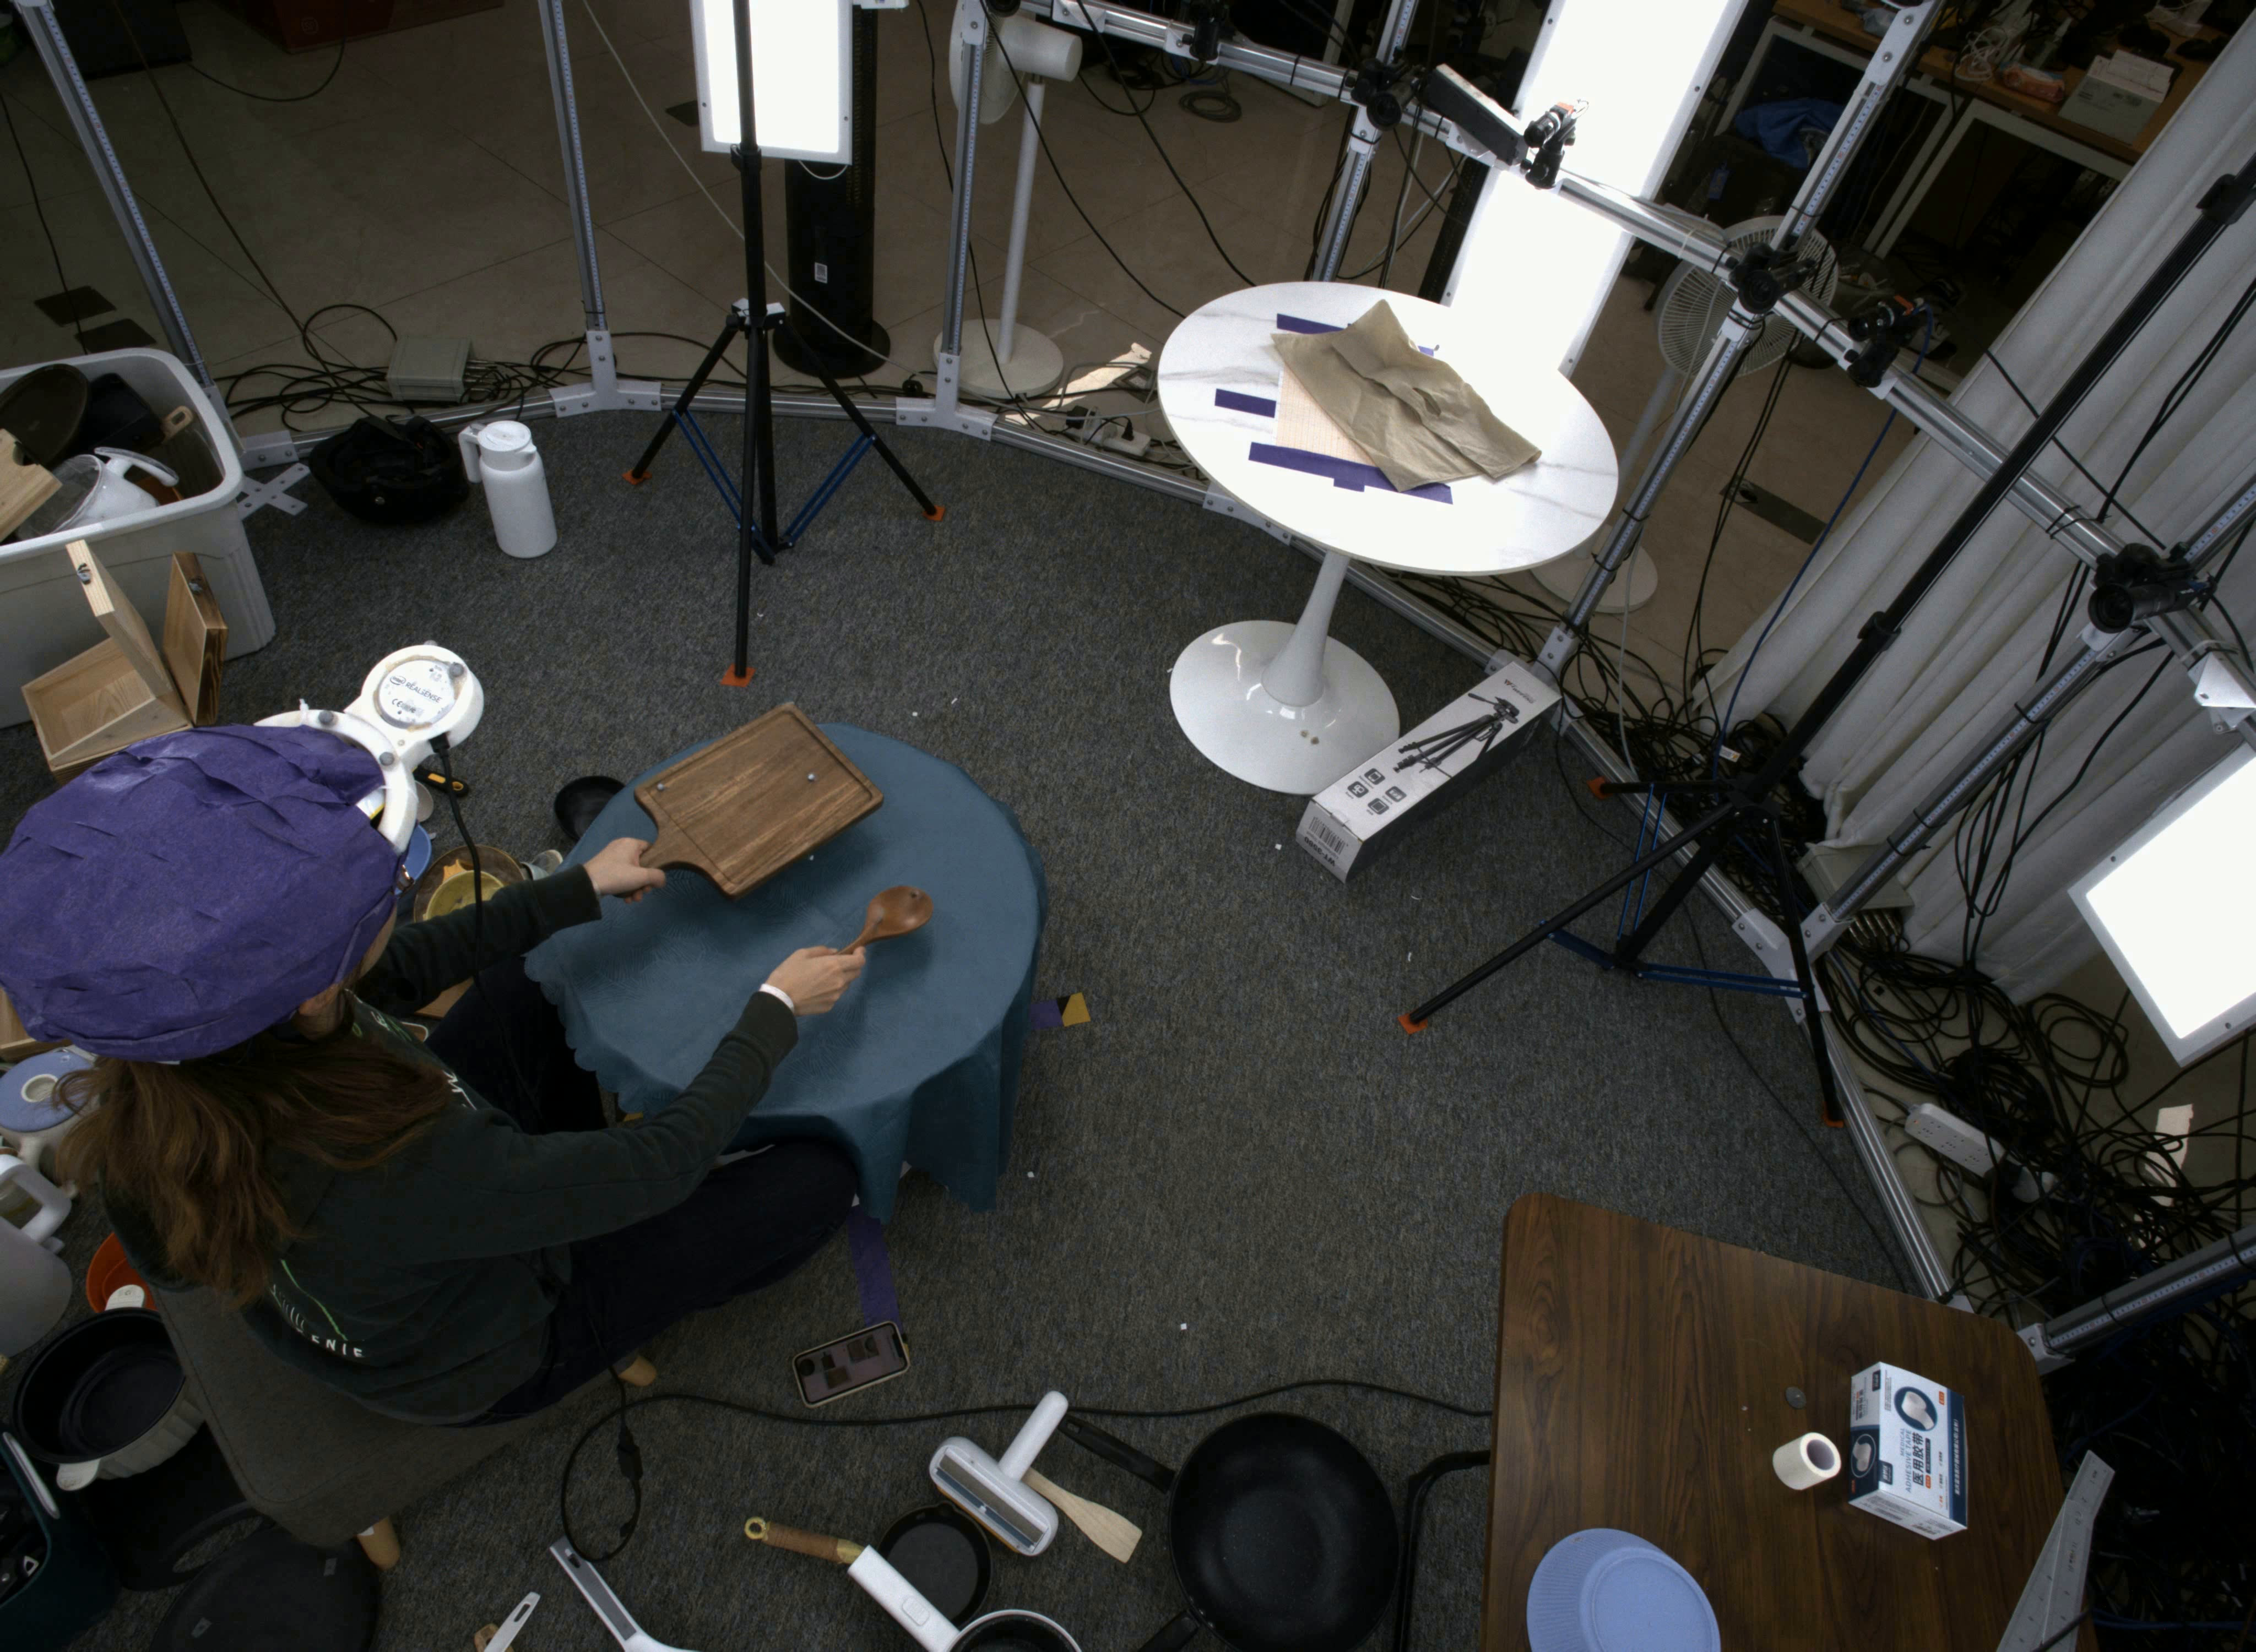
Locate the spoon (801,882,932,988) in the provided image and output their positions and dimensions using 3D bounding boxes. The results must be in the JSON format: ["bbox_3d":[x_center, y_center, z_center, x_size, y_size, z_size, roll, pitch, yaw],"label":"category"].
[{"bbox_3d":[-0.317,0.130,1.569,0.074,0.017,0.216,34,40,13],"label":"spoon"}]

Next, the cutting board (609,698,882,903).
[{"bbox_3d":[-0.498,-0.015,1.609,0.199,0.023,0.353,45,54,9],"label":"cutting board"}]
